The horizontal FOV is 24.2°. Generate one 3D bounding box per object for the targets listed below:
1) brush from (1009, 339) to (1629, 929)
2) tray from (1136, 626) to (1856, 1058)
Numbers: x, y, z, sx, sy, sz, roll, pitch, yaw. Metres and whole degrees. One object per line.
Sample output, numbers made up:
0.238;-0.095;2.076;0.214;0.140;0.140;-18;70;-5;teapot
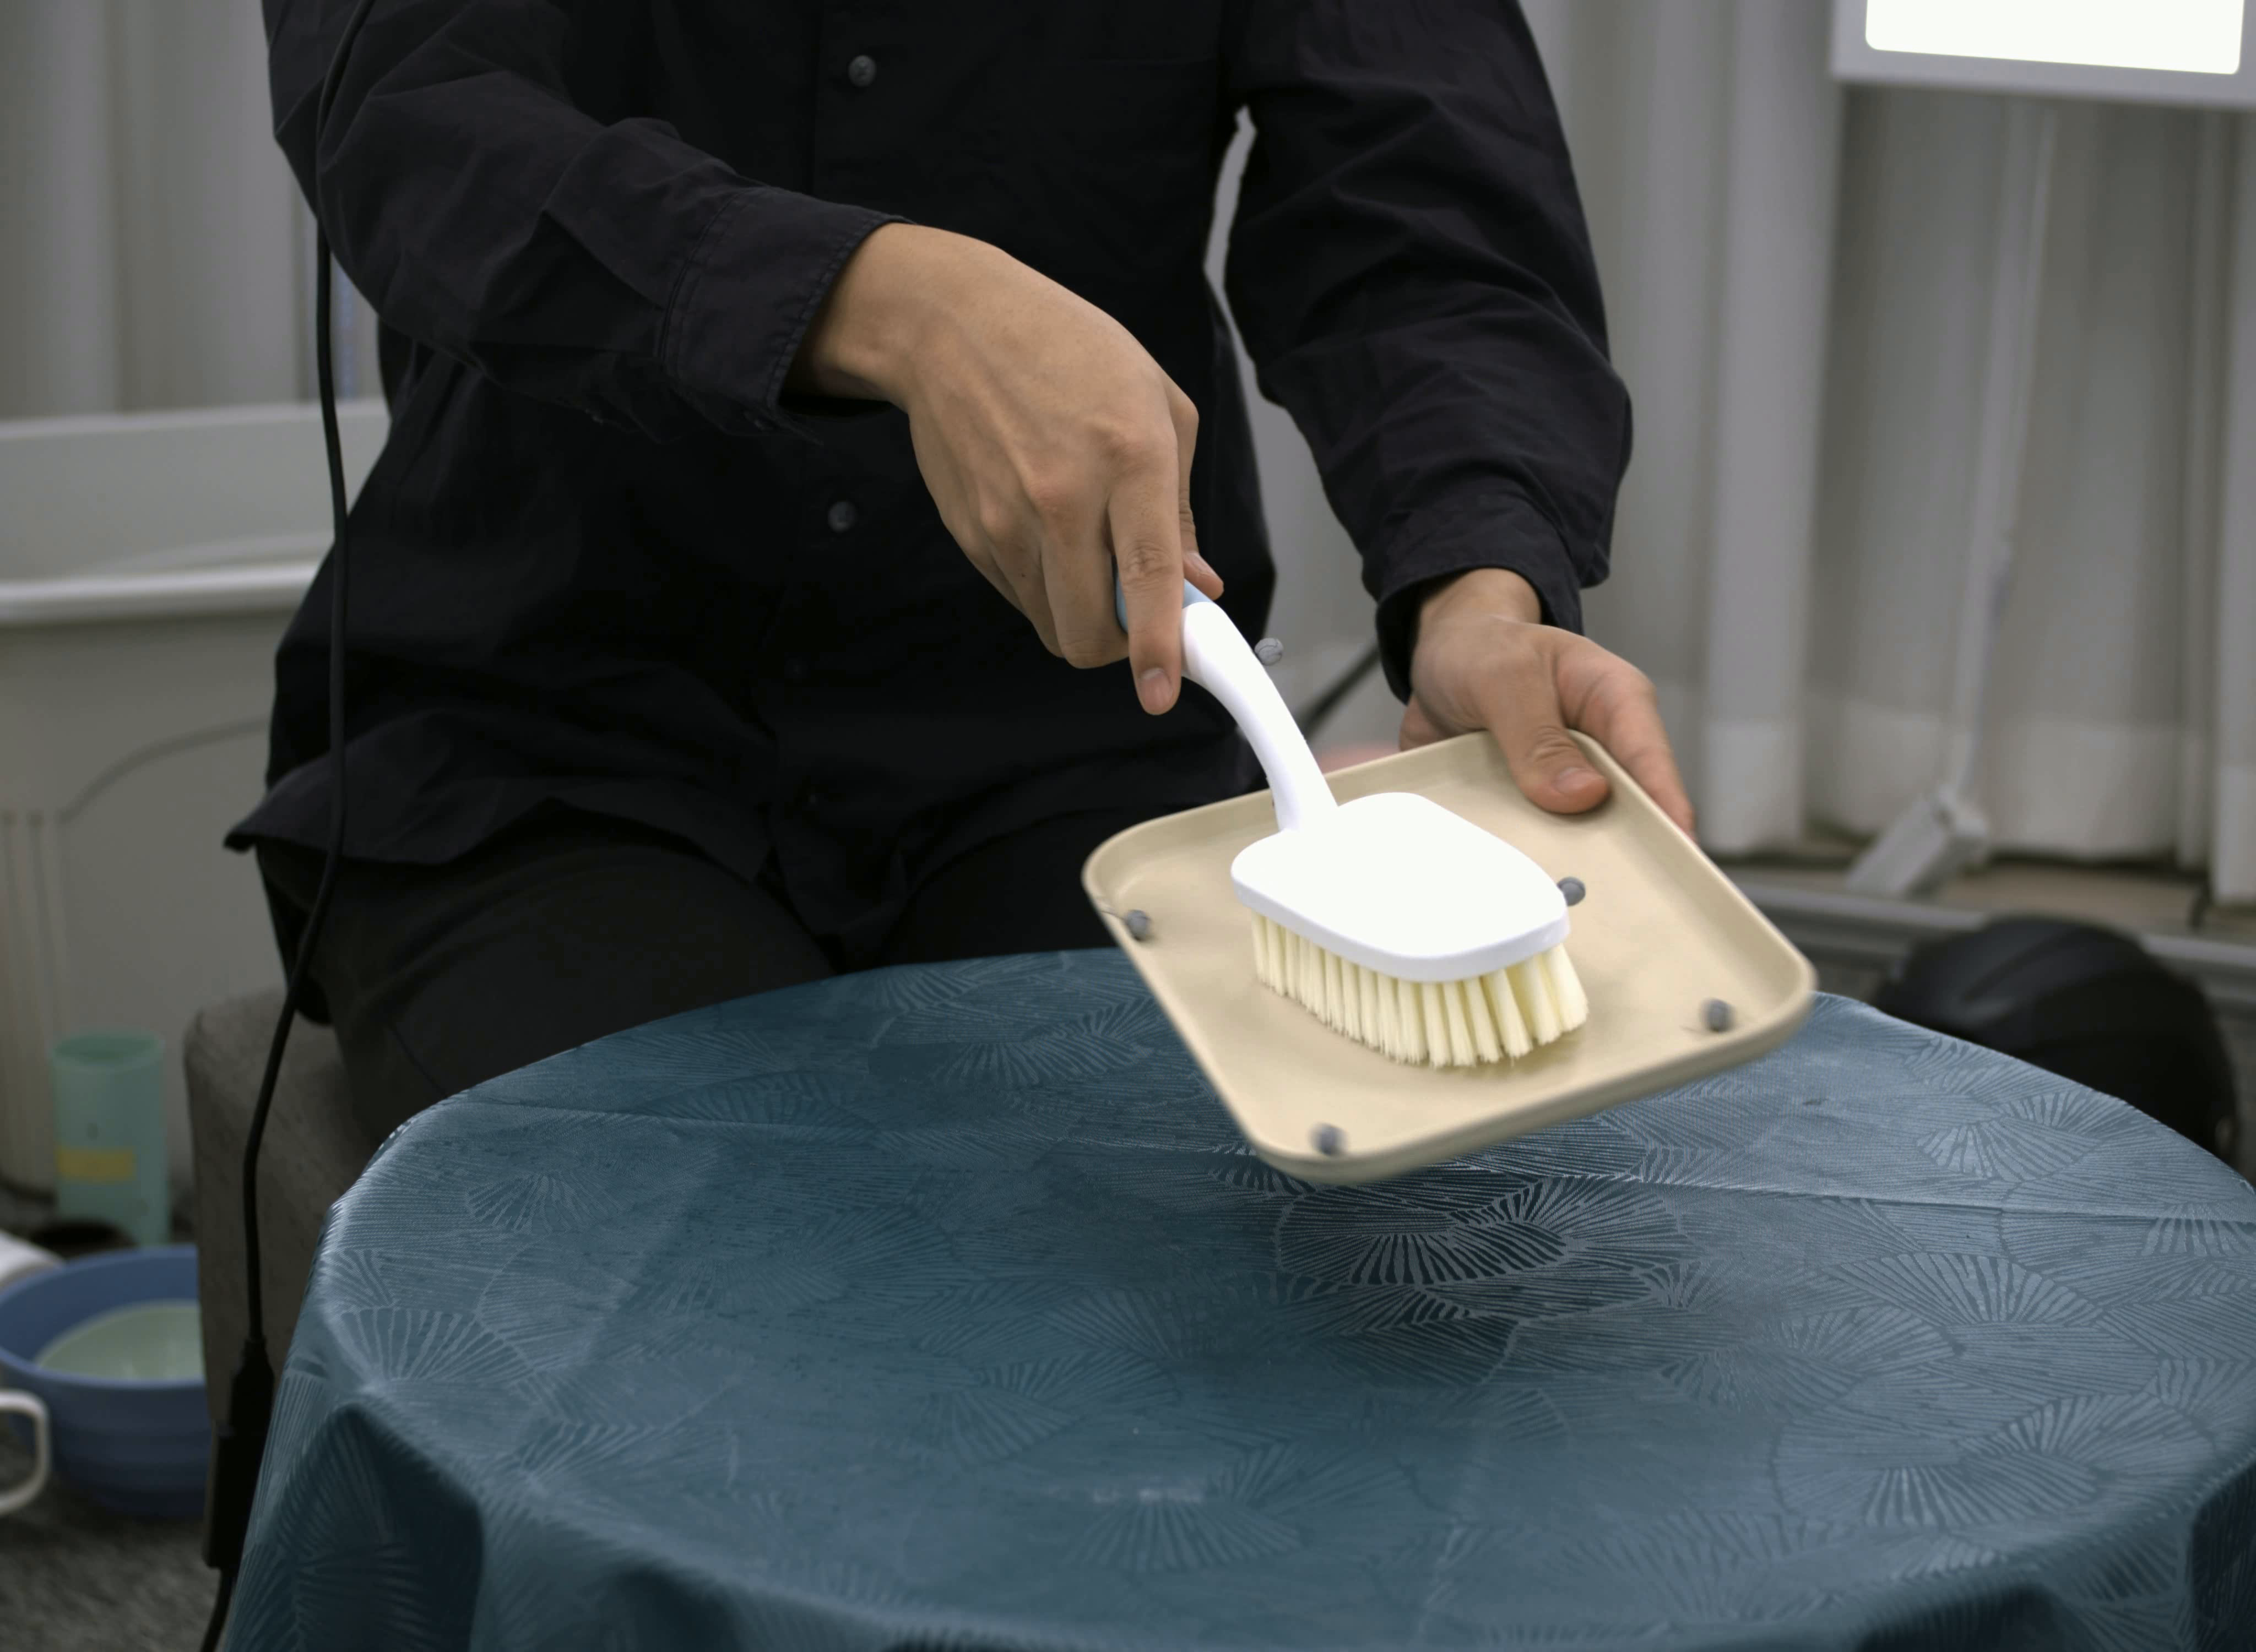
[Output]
0.056;-0.051;1.641;0.084;0.085;0.321;15;19;-41;brush
0.107;0.003;1.593;0.171;0.018;0.237;-15;25;-9;tray
